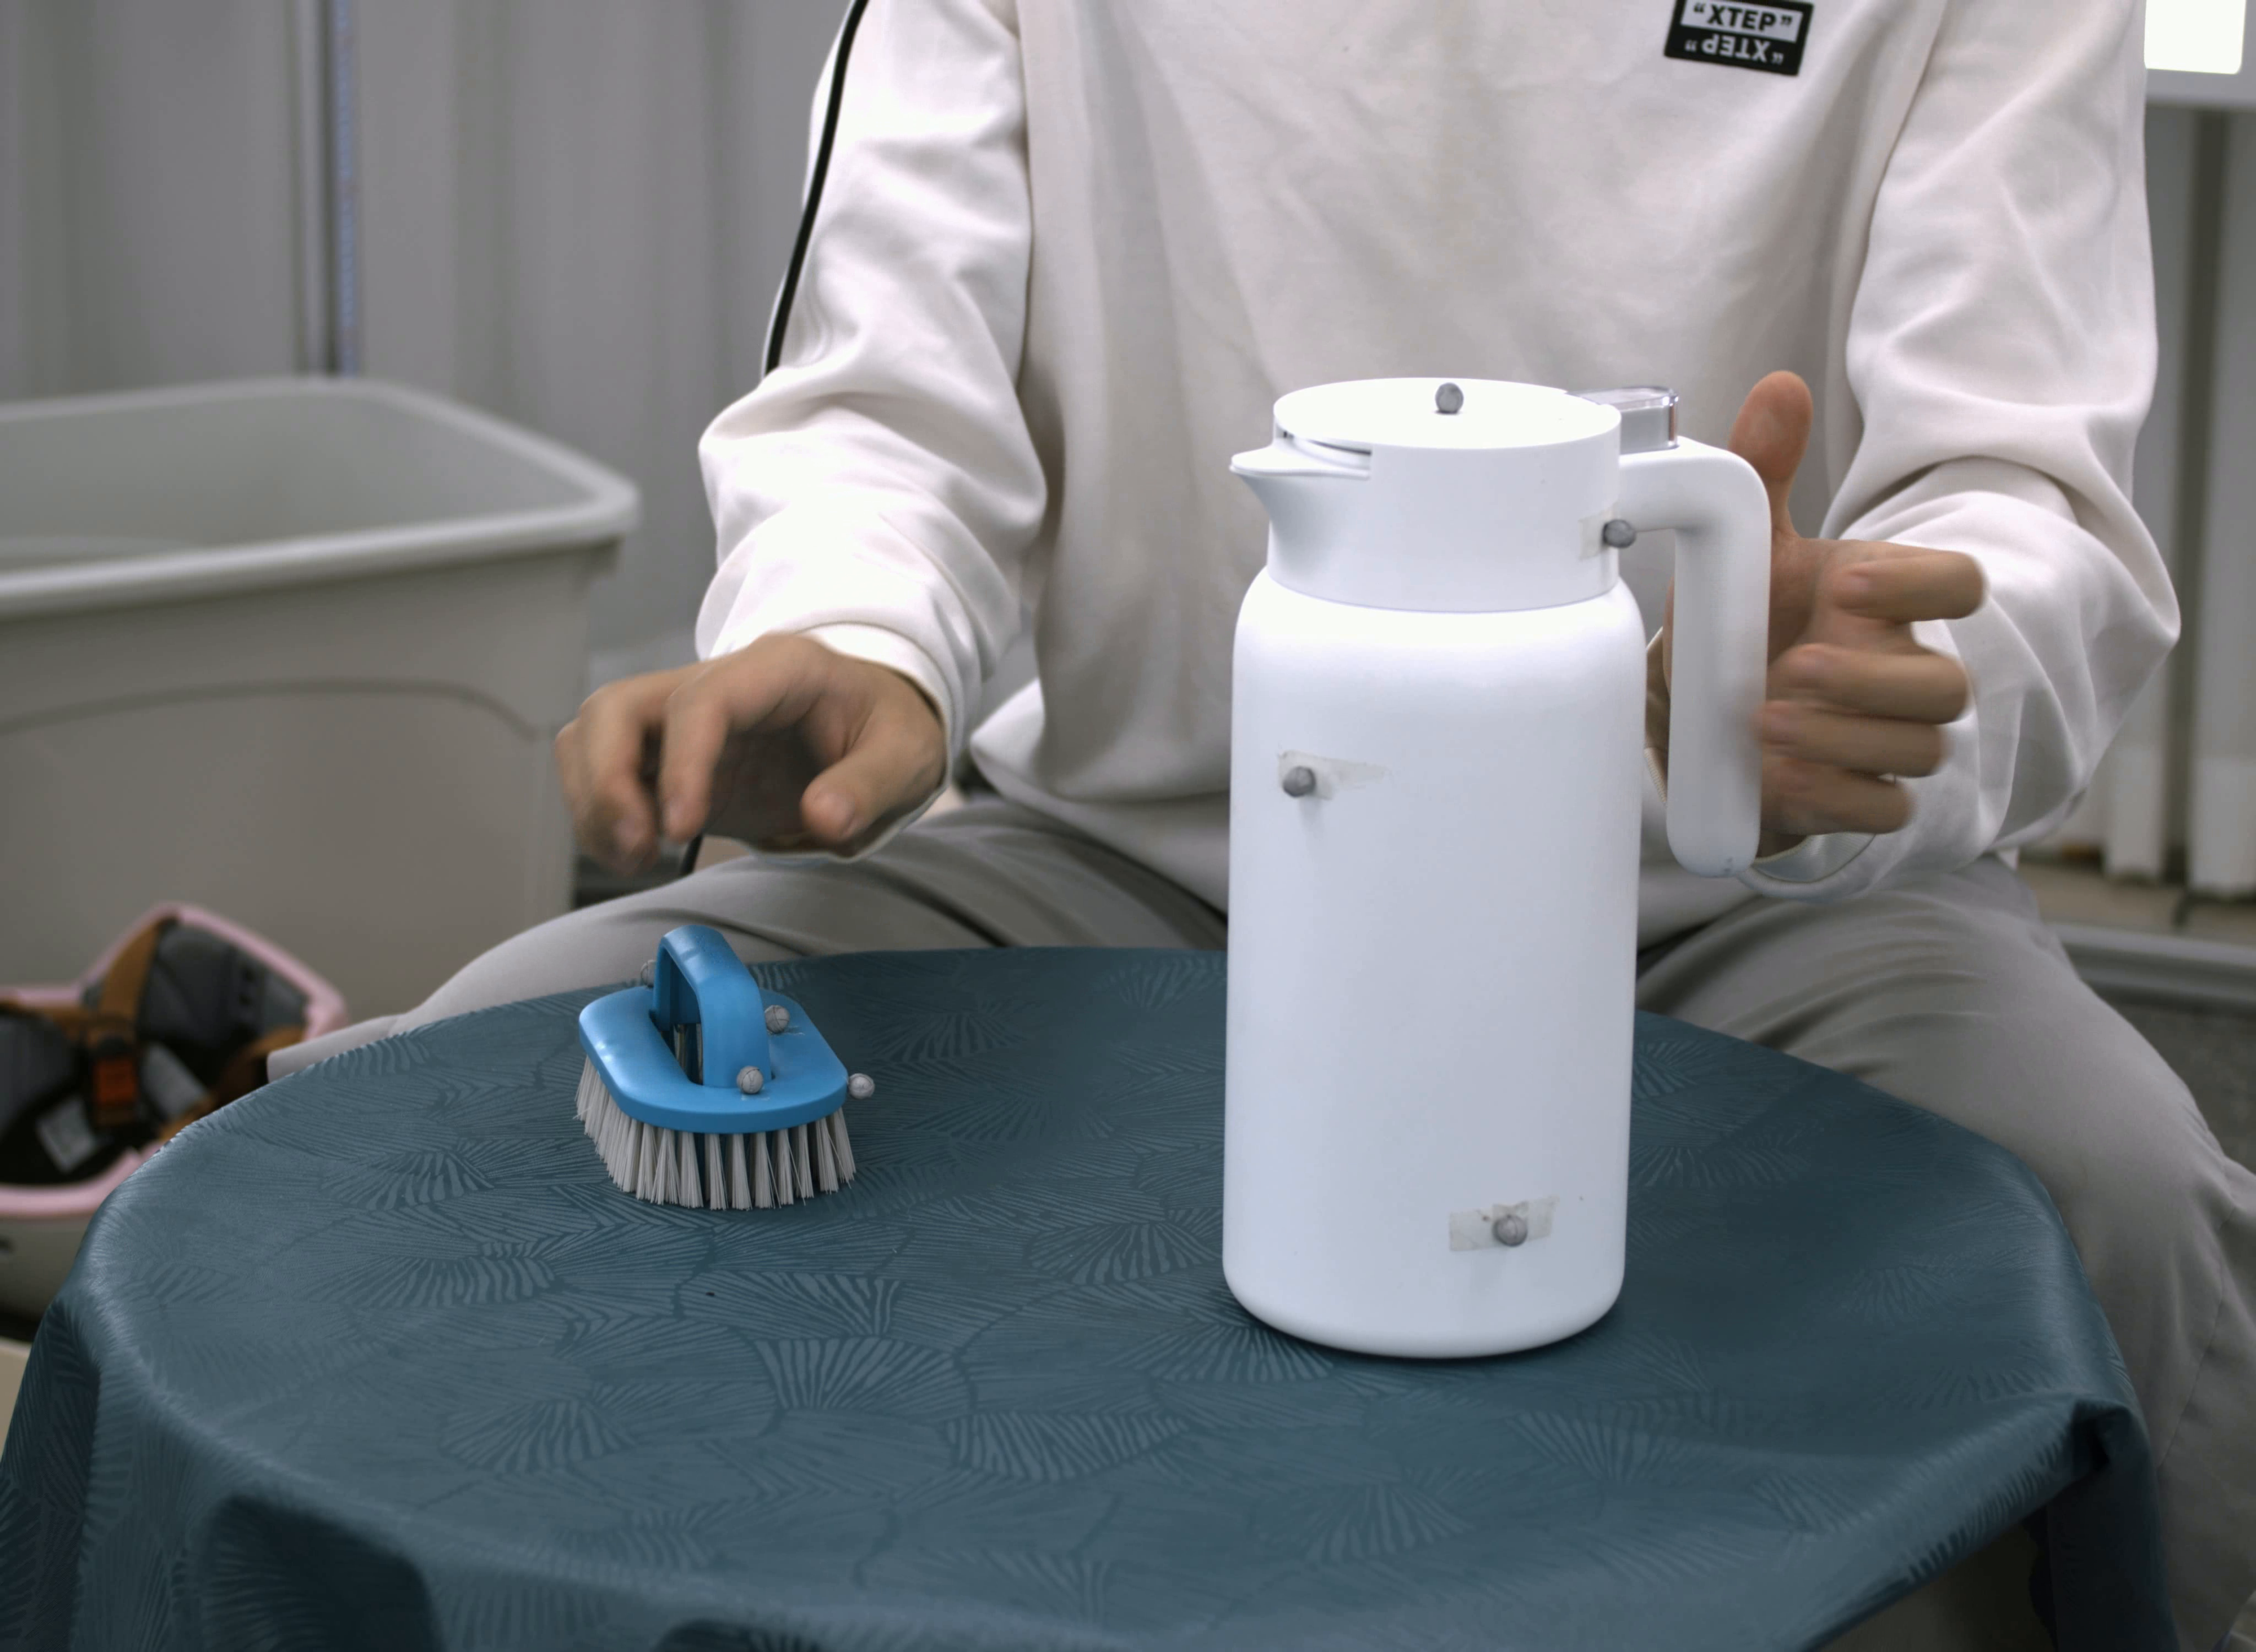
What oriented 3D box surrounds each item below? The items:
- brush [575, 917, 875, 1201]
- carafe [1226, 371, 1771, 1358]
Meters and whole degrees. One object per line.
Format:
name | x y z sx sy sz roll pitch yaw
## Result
brush | -0.130 0.067 1.662 0.084 0.064 0.140 -8 17 -12
carafe | 0.103 0.008 1.513 0.173 0.271 0.122 -8 16 -29
